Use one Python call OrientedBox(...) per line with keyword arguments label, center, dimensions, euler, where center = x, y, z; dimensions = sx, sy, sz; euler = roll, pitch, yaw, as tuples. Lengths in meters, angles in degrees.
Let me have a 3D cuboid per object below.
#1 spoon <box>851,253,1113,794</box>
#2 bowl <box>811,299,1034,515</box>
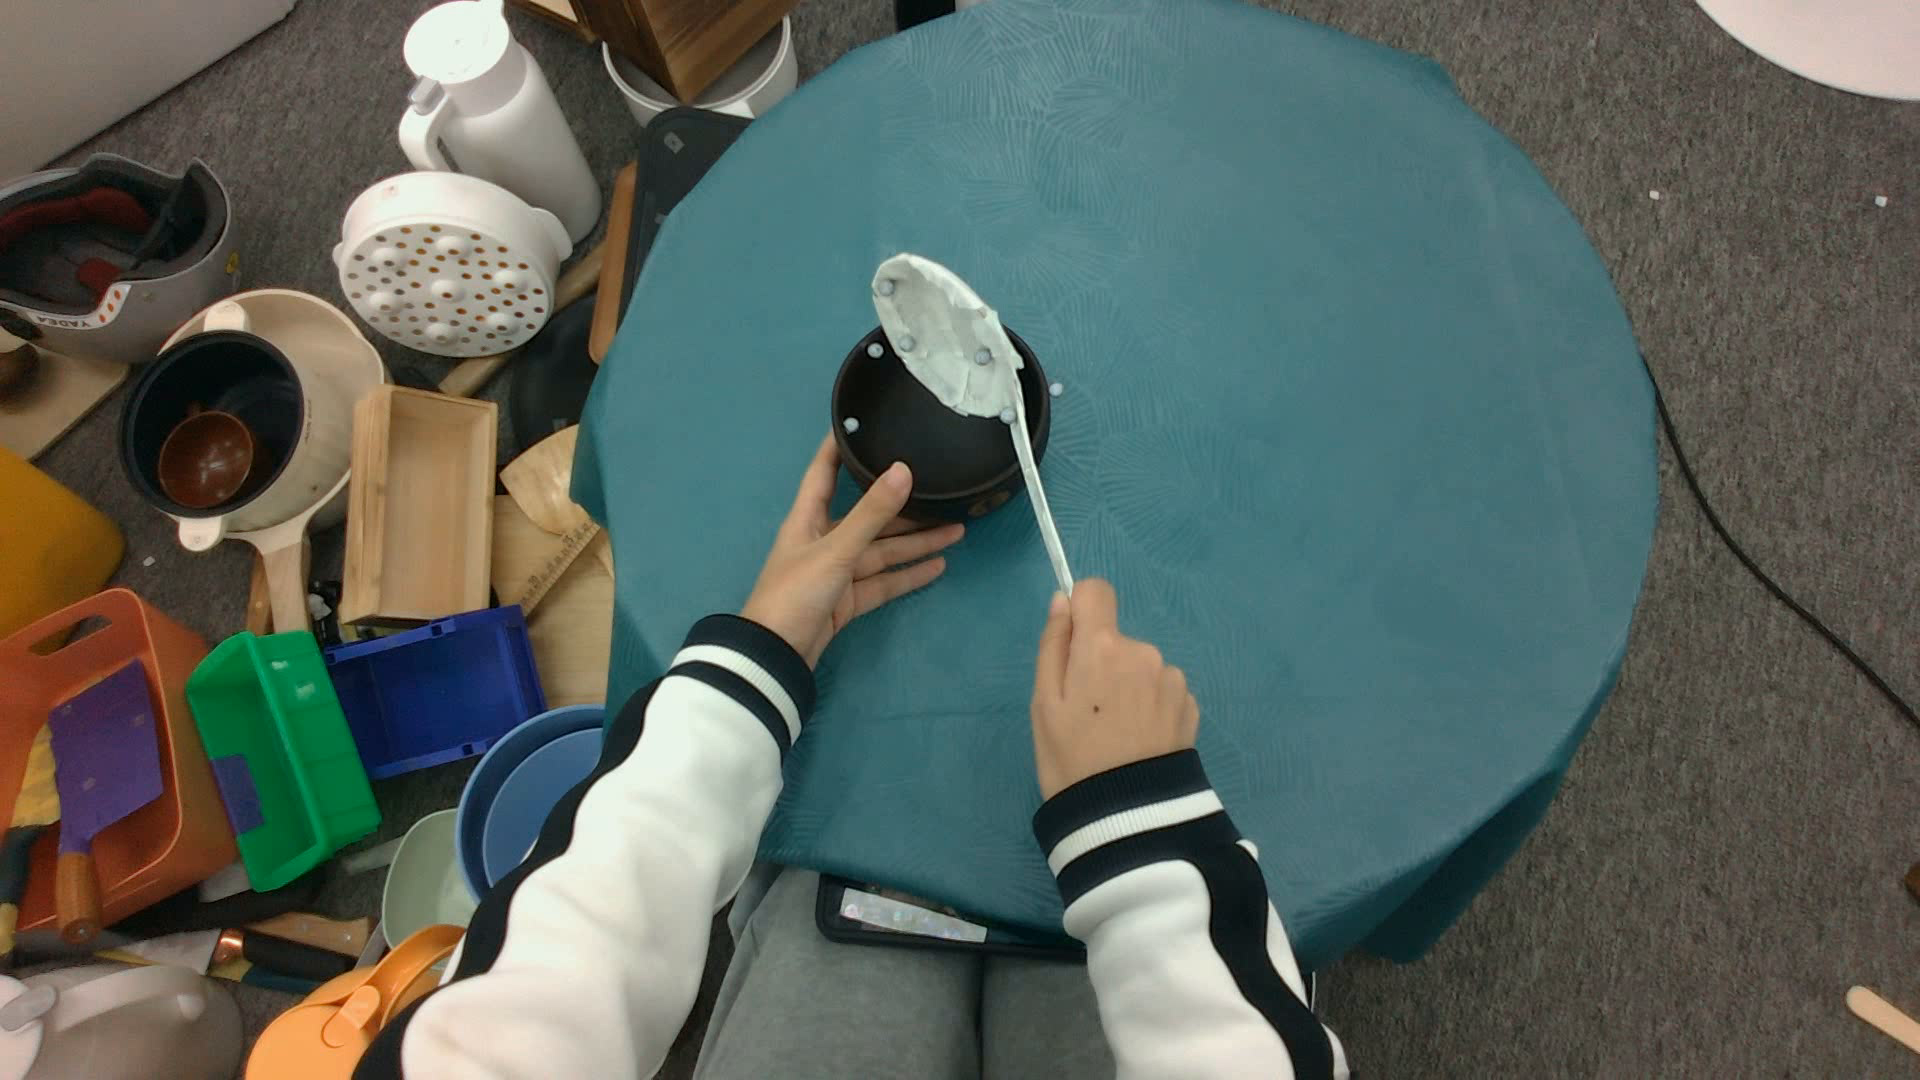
OrientedBox(label="spoon", center=(0.007, -0.009, 0.655), dimensions=(0.059, 0.100, 0.278), euler=(-11, 74, -12))
OrientedBox(label="bowl", center=(-0.019, -0.067, 0.748), dimensions=(0.118, 0.069, 0.118), euler=(-1, 69, 2))
